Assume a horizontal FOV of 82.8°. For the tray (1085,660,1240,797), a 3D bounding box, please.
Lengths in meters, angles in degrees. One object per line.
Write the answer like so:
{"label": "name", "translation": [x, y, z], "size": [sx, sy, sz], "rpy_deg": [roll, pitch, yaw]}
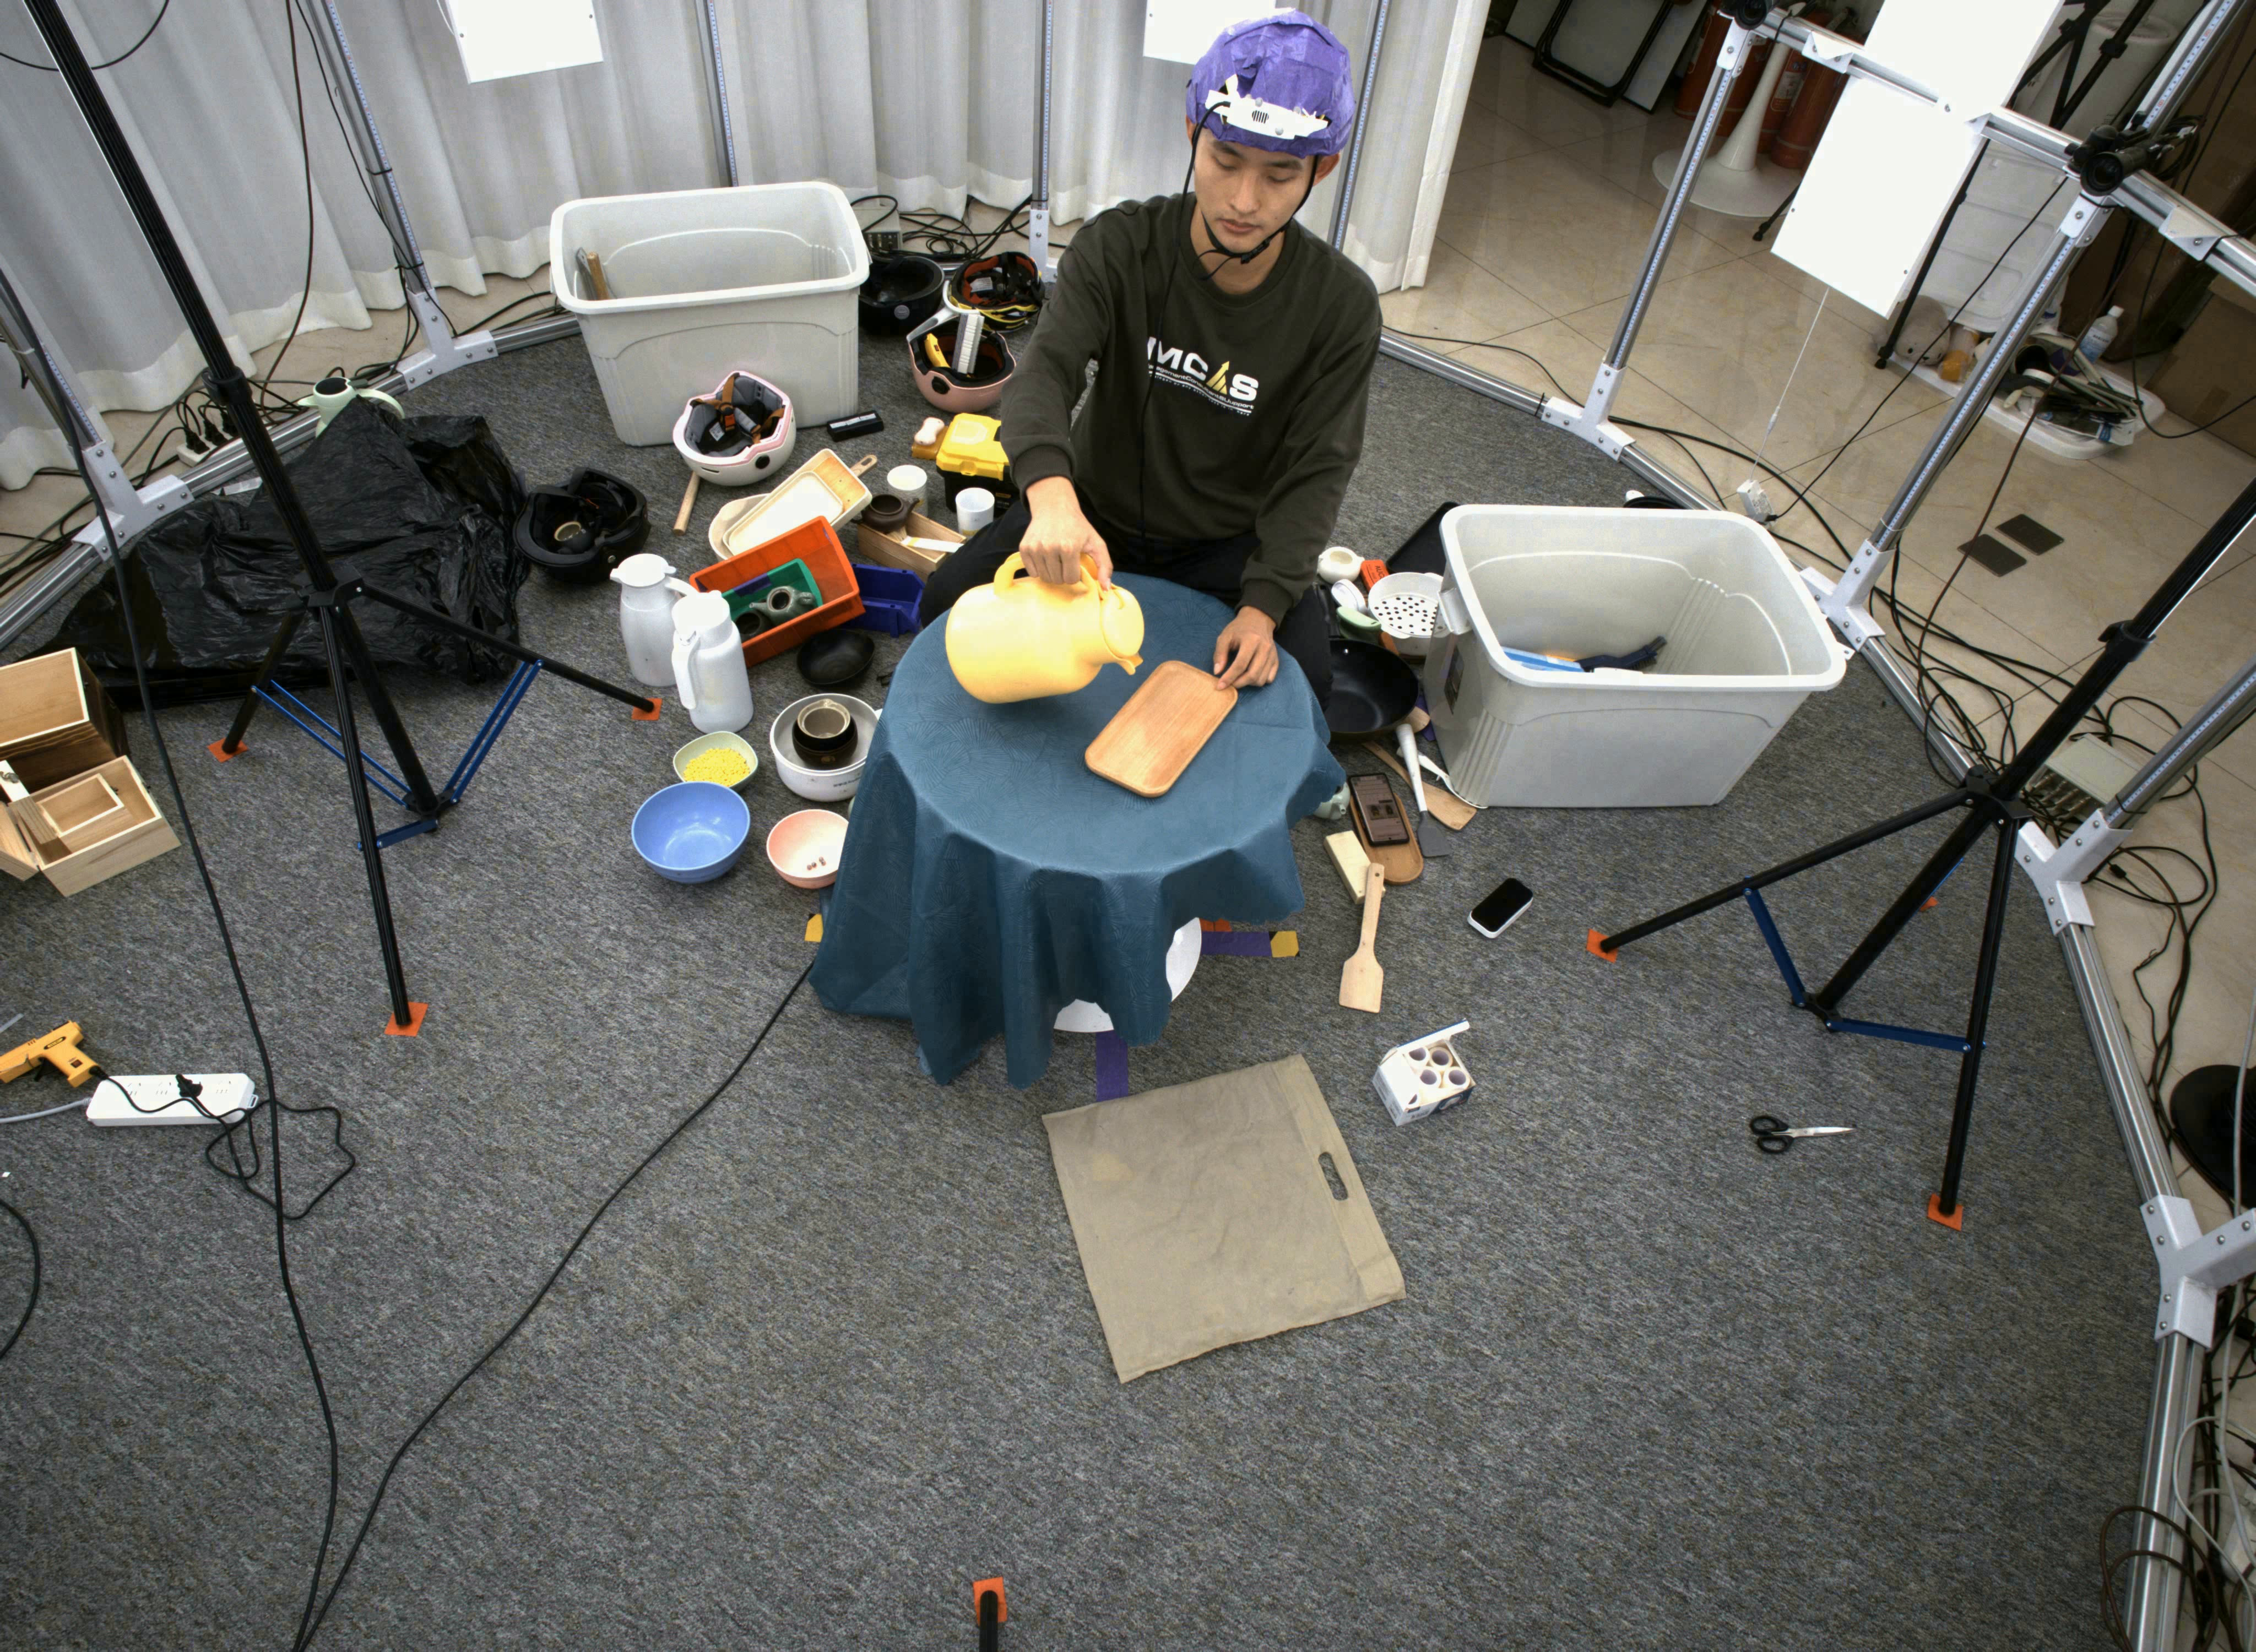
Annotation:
{"label": "tray", "translation": [0.050, -0.138, 1.777], "size": [0.131, 0.022, 0.254], "rpy_deg": [28, 52, 16]}

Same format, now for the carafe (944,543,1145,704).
{"label": "carafe", "translation": [-0.112, -0.270, 1.700], "size": [0.261, 0.198, 0.166], "rpy_deg": [-5, 34, 31]}
